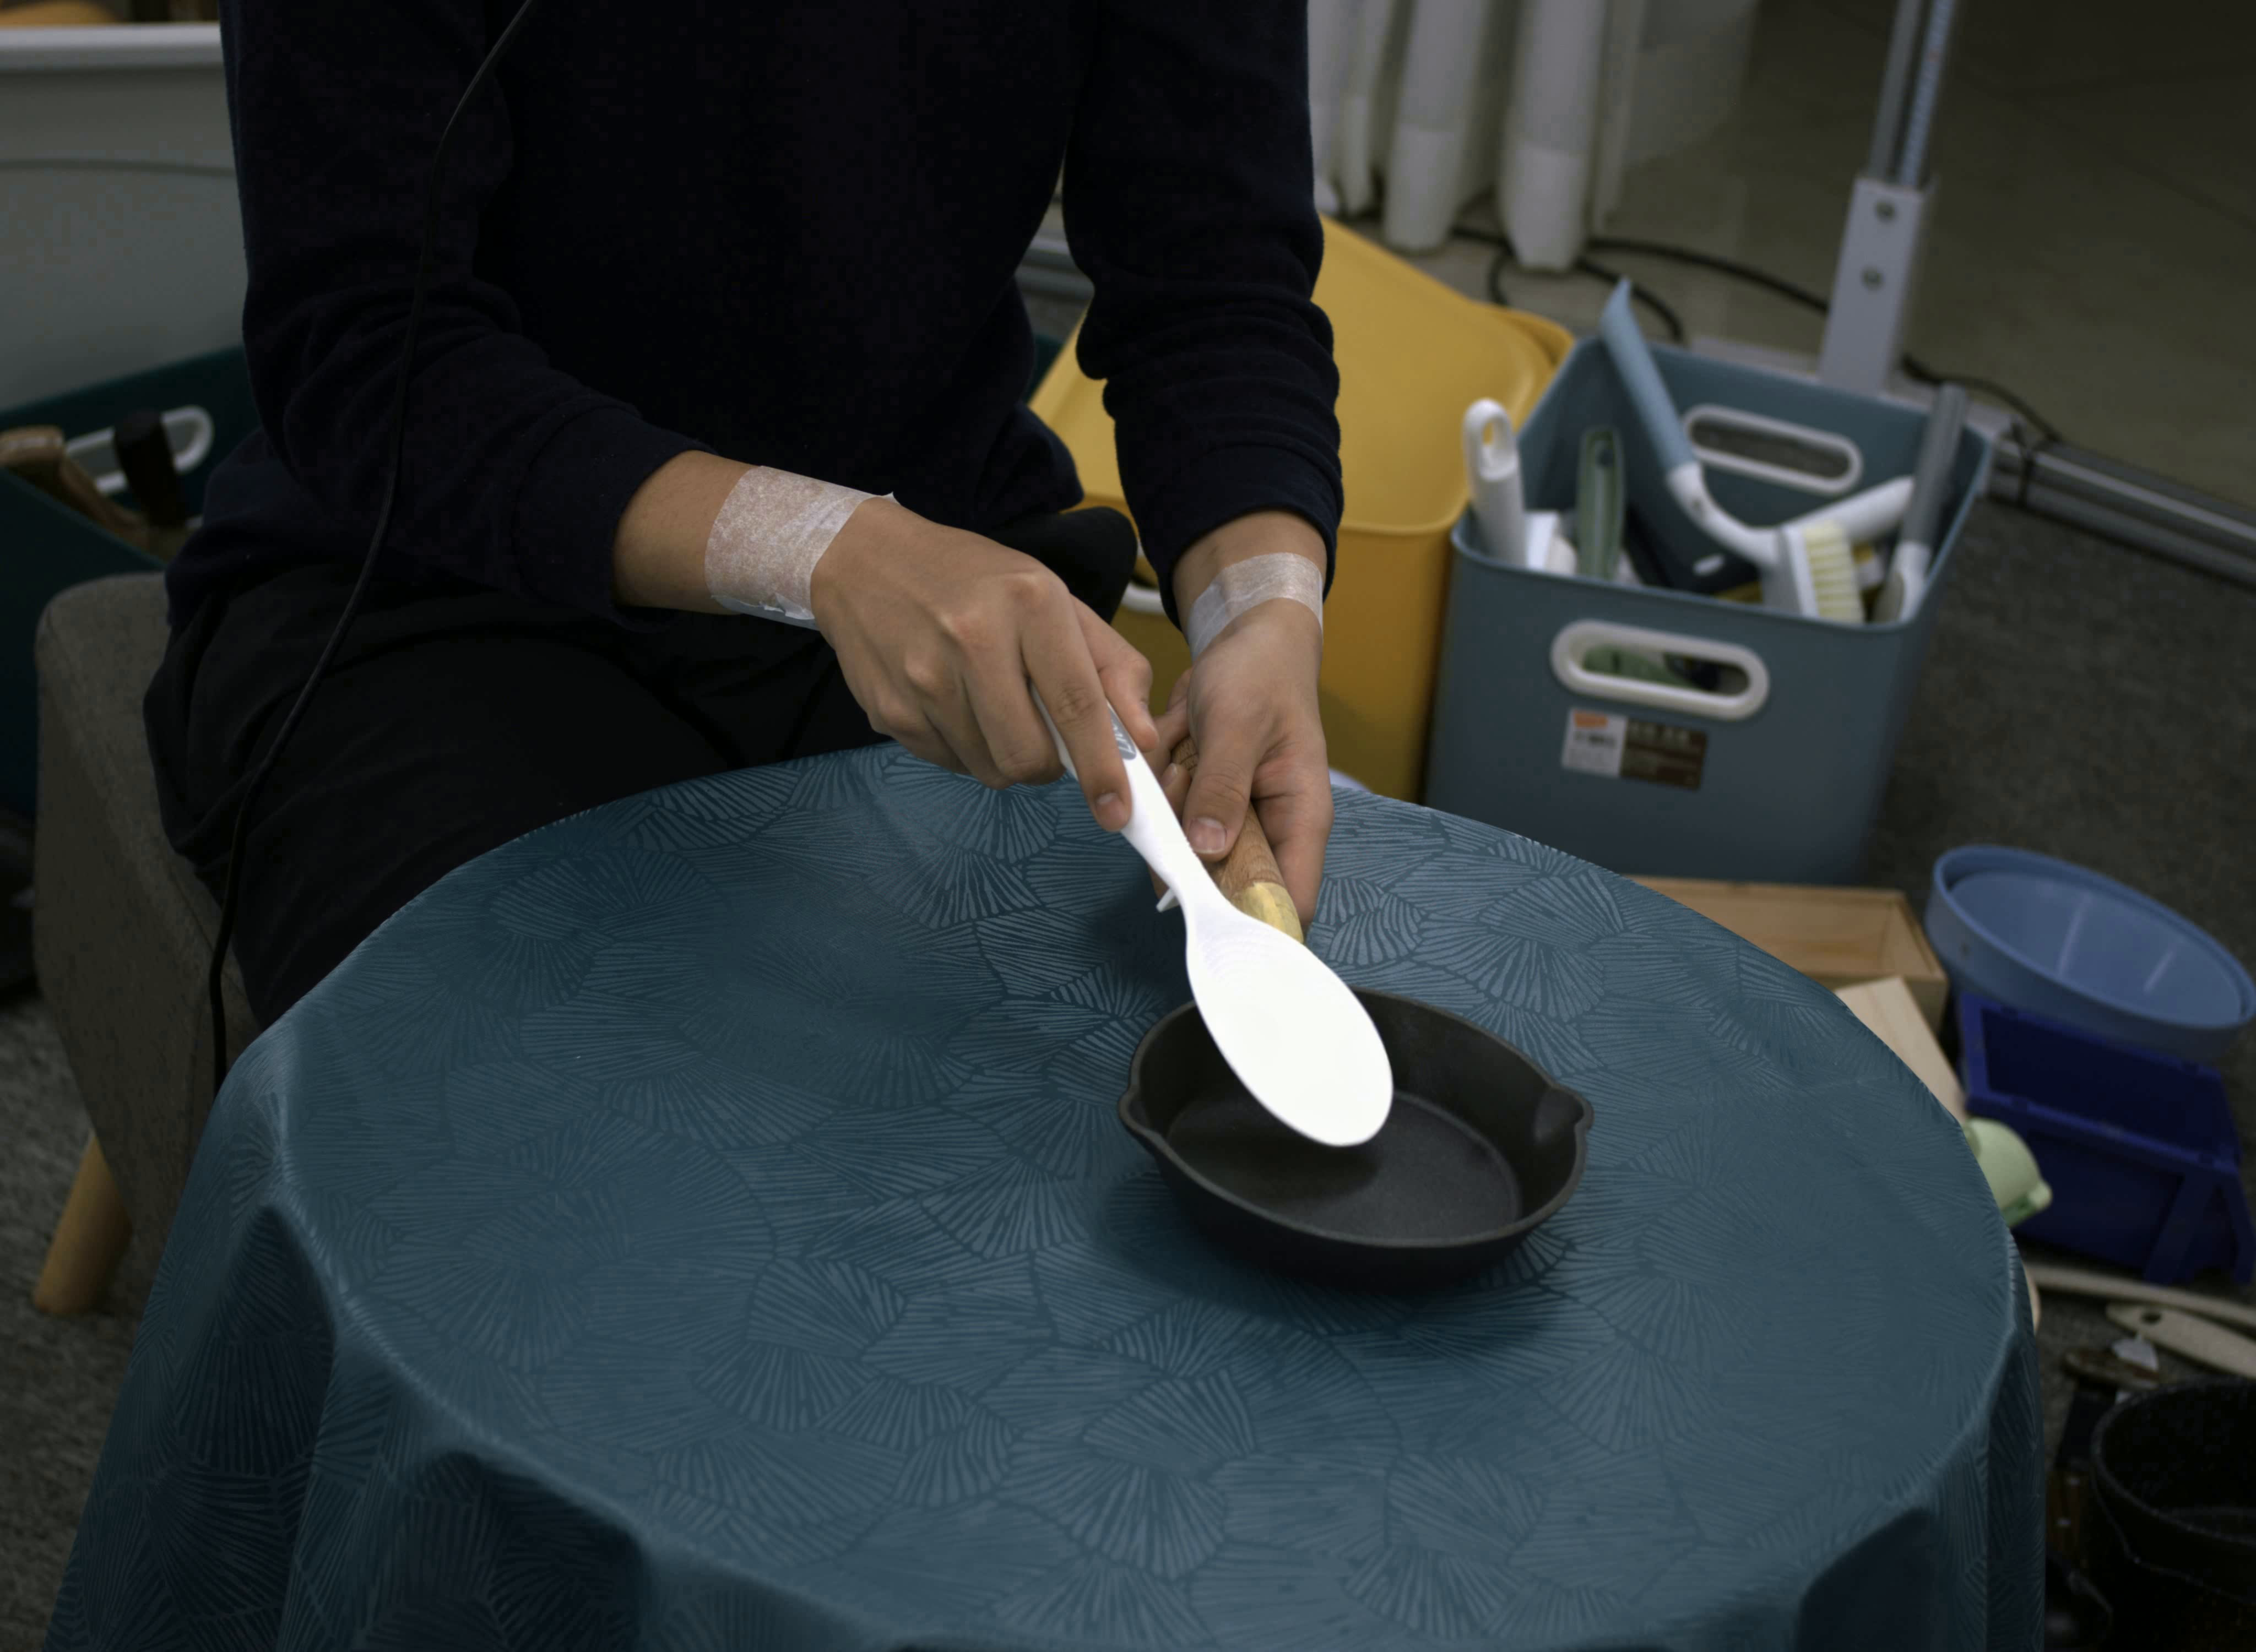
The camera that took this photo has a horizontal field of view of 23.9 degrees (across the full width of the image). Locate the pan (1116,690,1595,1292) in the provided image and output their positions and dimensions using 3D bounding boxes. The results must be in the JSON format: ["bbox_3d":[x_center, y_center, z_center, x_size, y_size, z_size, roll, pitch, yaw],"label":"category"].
[{"bbox_3d":[0.058,0.055,1.864,0.168,0.049,0.327,1,33,-15],"label":"pan"}]

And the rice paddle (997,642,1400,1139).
[{"bbox_3d":[0.026,0.024,1.831,0.068,0.029,0.206,-22,68,-42],"label":"rice paddle"}]
